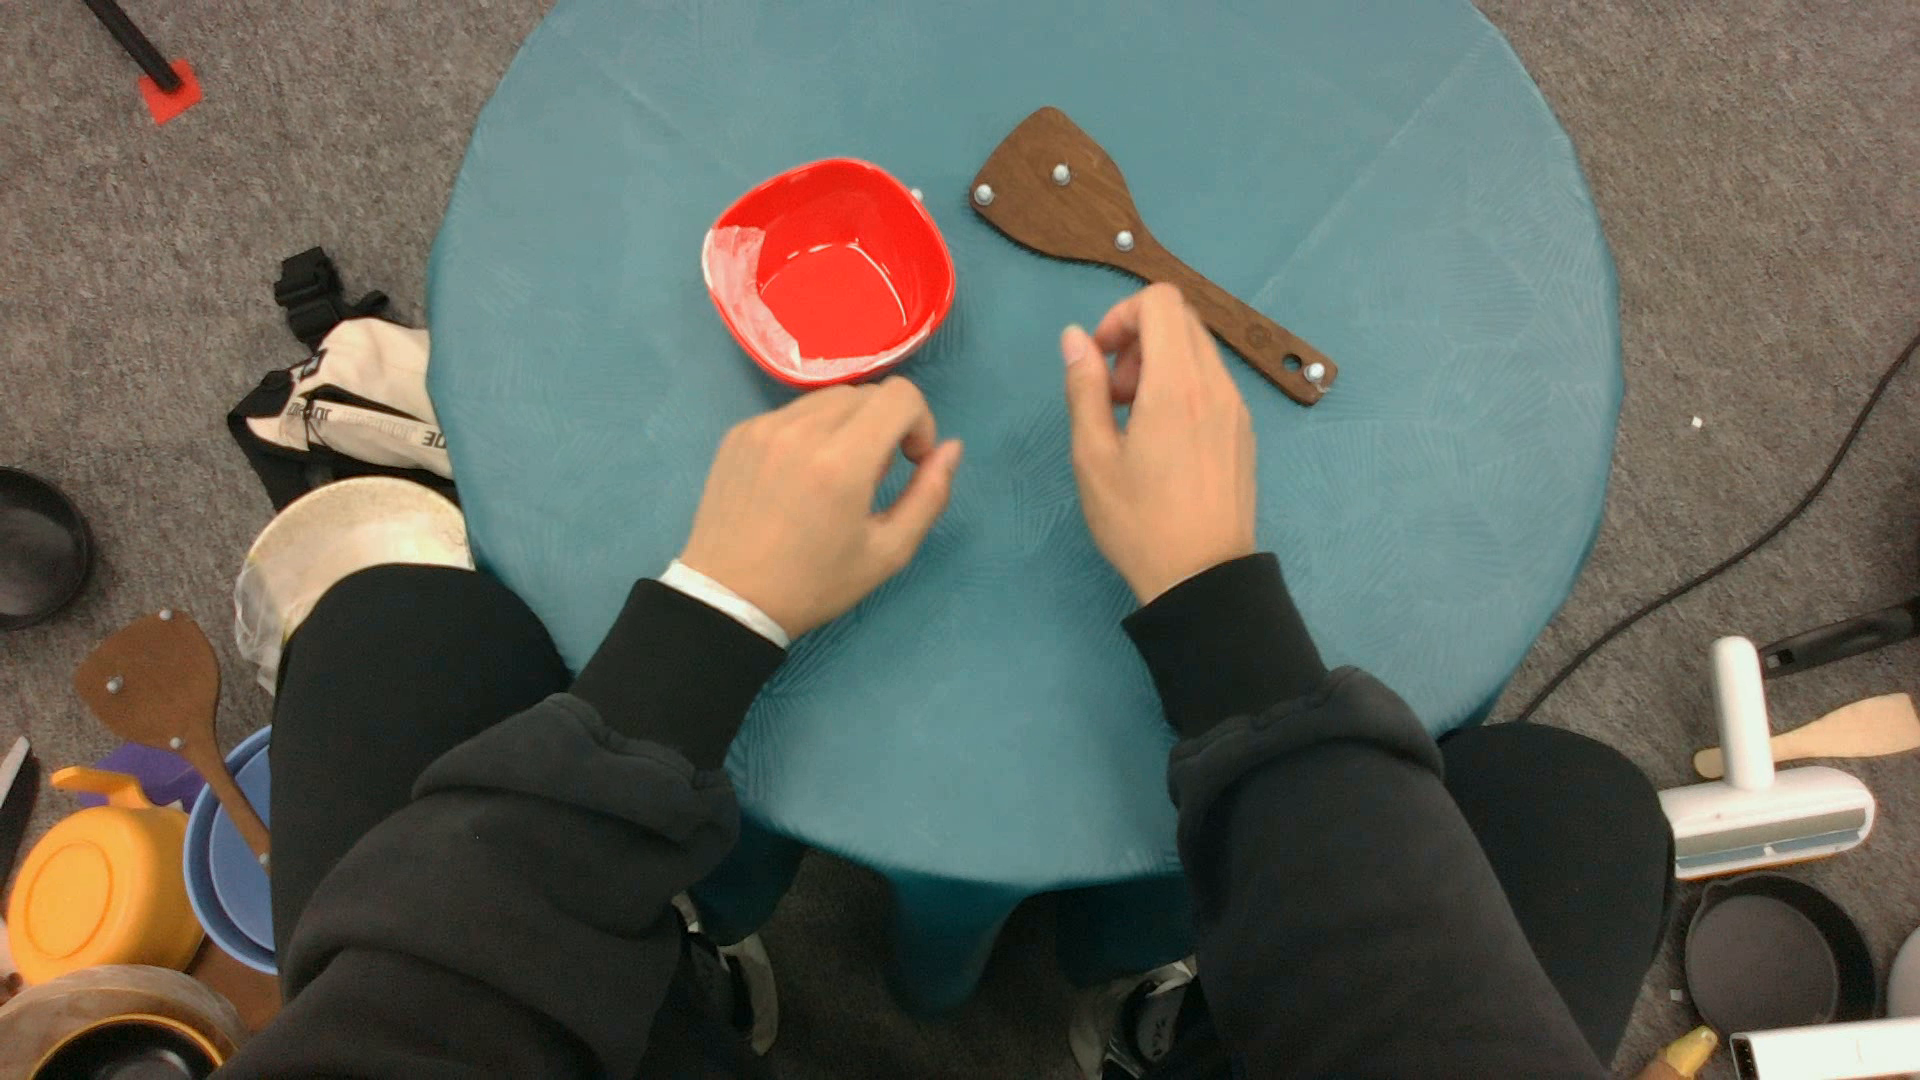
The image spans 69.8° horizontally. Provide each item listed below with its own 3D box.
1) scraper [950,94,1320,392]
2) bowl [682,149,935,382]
[{"bbox_3d":[0.093,-0.145,0.701,0.211,0.011,0.076,38,76,8],"label":"scraper"},{"bbox_3d":[-0.073,-0.125,0.667,0.119,0.051,0.119,2,72,-6],"label":"bowl"}]
